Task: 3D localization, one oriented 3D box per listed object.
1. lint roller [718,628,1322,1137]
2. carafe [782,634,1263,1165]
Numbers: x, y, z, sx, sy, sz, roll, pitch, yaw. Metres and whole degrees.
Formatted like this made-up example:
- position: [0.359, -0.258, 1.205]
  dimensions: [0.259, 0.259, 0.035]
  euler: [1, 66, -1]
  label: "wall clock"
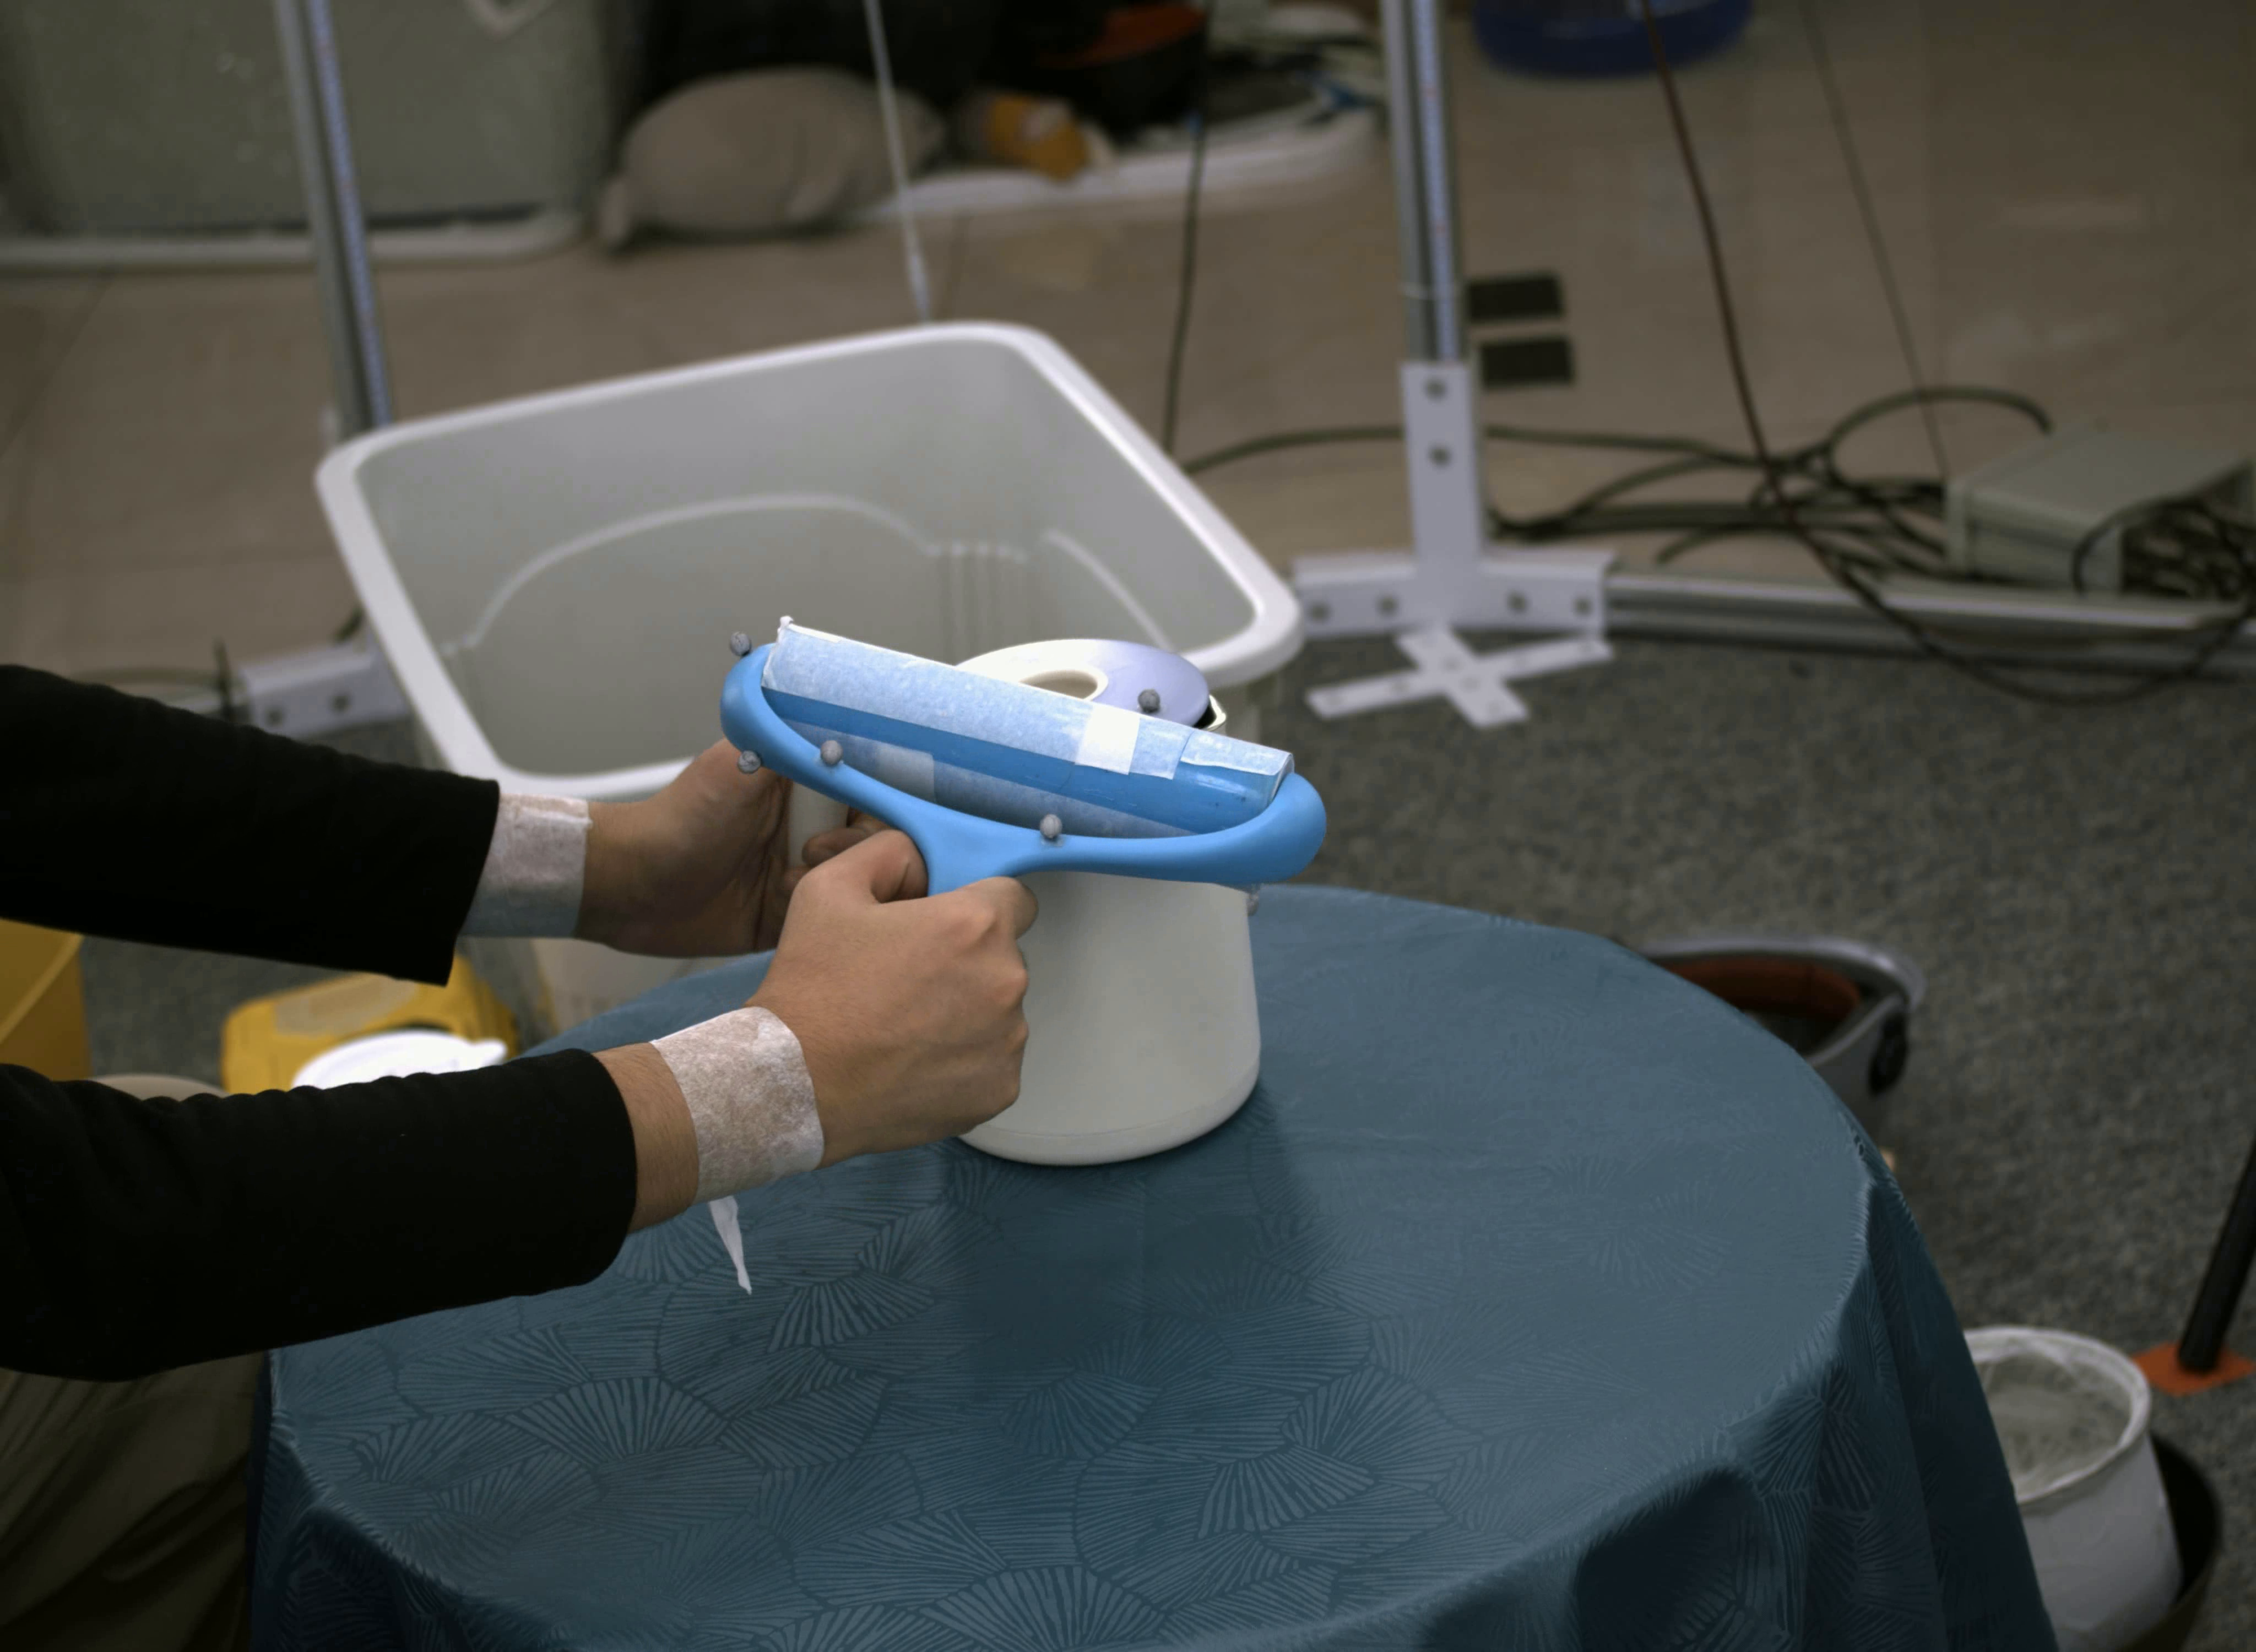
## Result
- position: [-0.056, 0.023, 2.040]
  dimensions: [0.228, 0.069, 0.177]
  euler: [14, 58, 7]
  label: "lint roller"
- position: [-0.043, 0.028, 2.190]
  dimensions: [0.191, 0.185, 0.130]
  euler: [0, 25, 18]
  label: "carafe"
